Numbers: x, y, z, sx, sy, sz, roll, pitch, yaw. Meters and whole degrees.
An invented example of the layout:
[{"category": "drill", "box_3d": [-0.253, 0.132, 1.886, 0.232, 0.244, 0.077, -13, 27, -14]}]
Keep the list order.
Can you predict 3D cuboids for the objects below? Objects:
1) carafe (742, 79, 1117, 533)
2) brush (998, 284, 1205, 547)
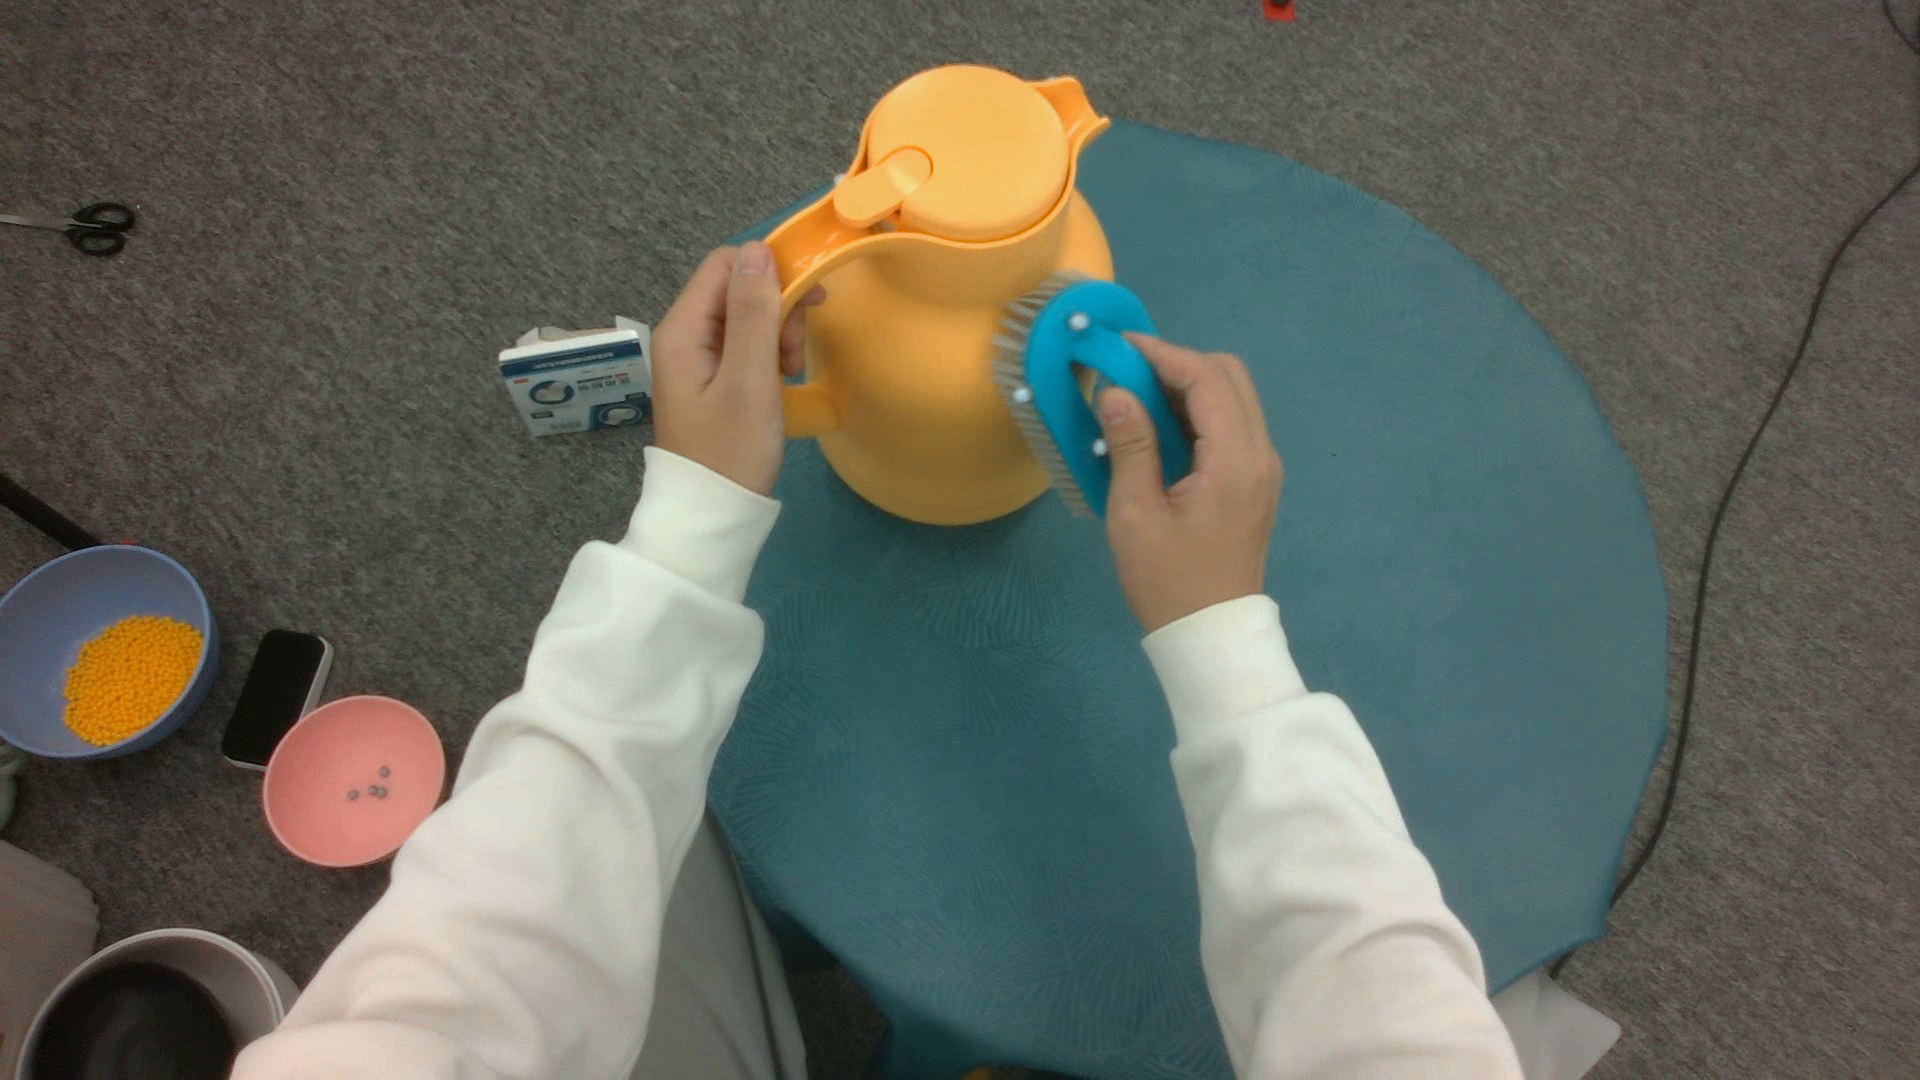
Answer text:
[{"category": "carafe", "box_3d": [-0.017, -0.113, 0.721, 0.203, 0.259, 0.163, -29, 68, -16]}, {"category": "brush", "box_3d": [0.080, -0.059, 0.662, 0.084, 0.141, 0.064, -45, 36, -20]}]
